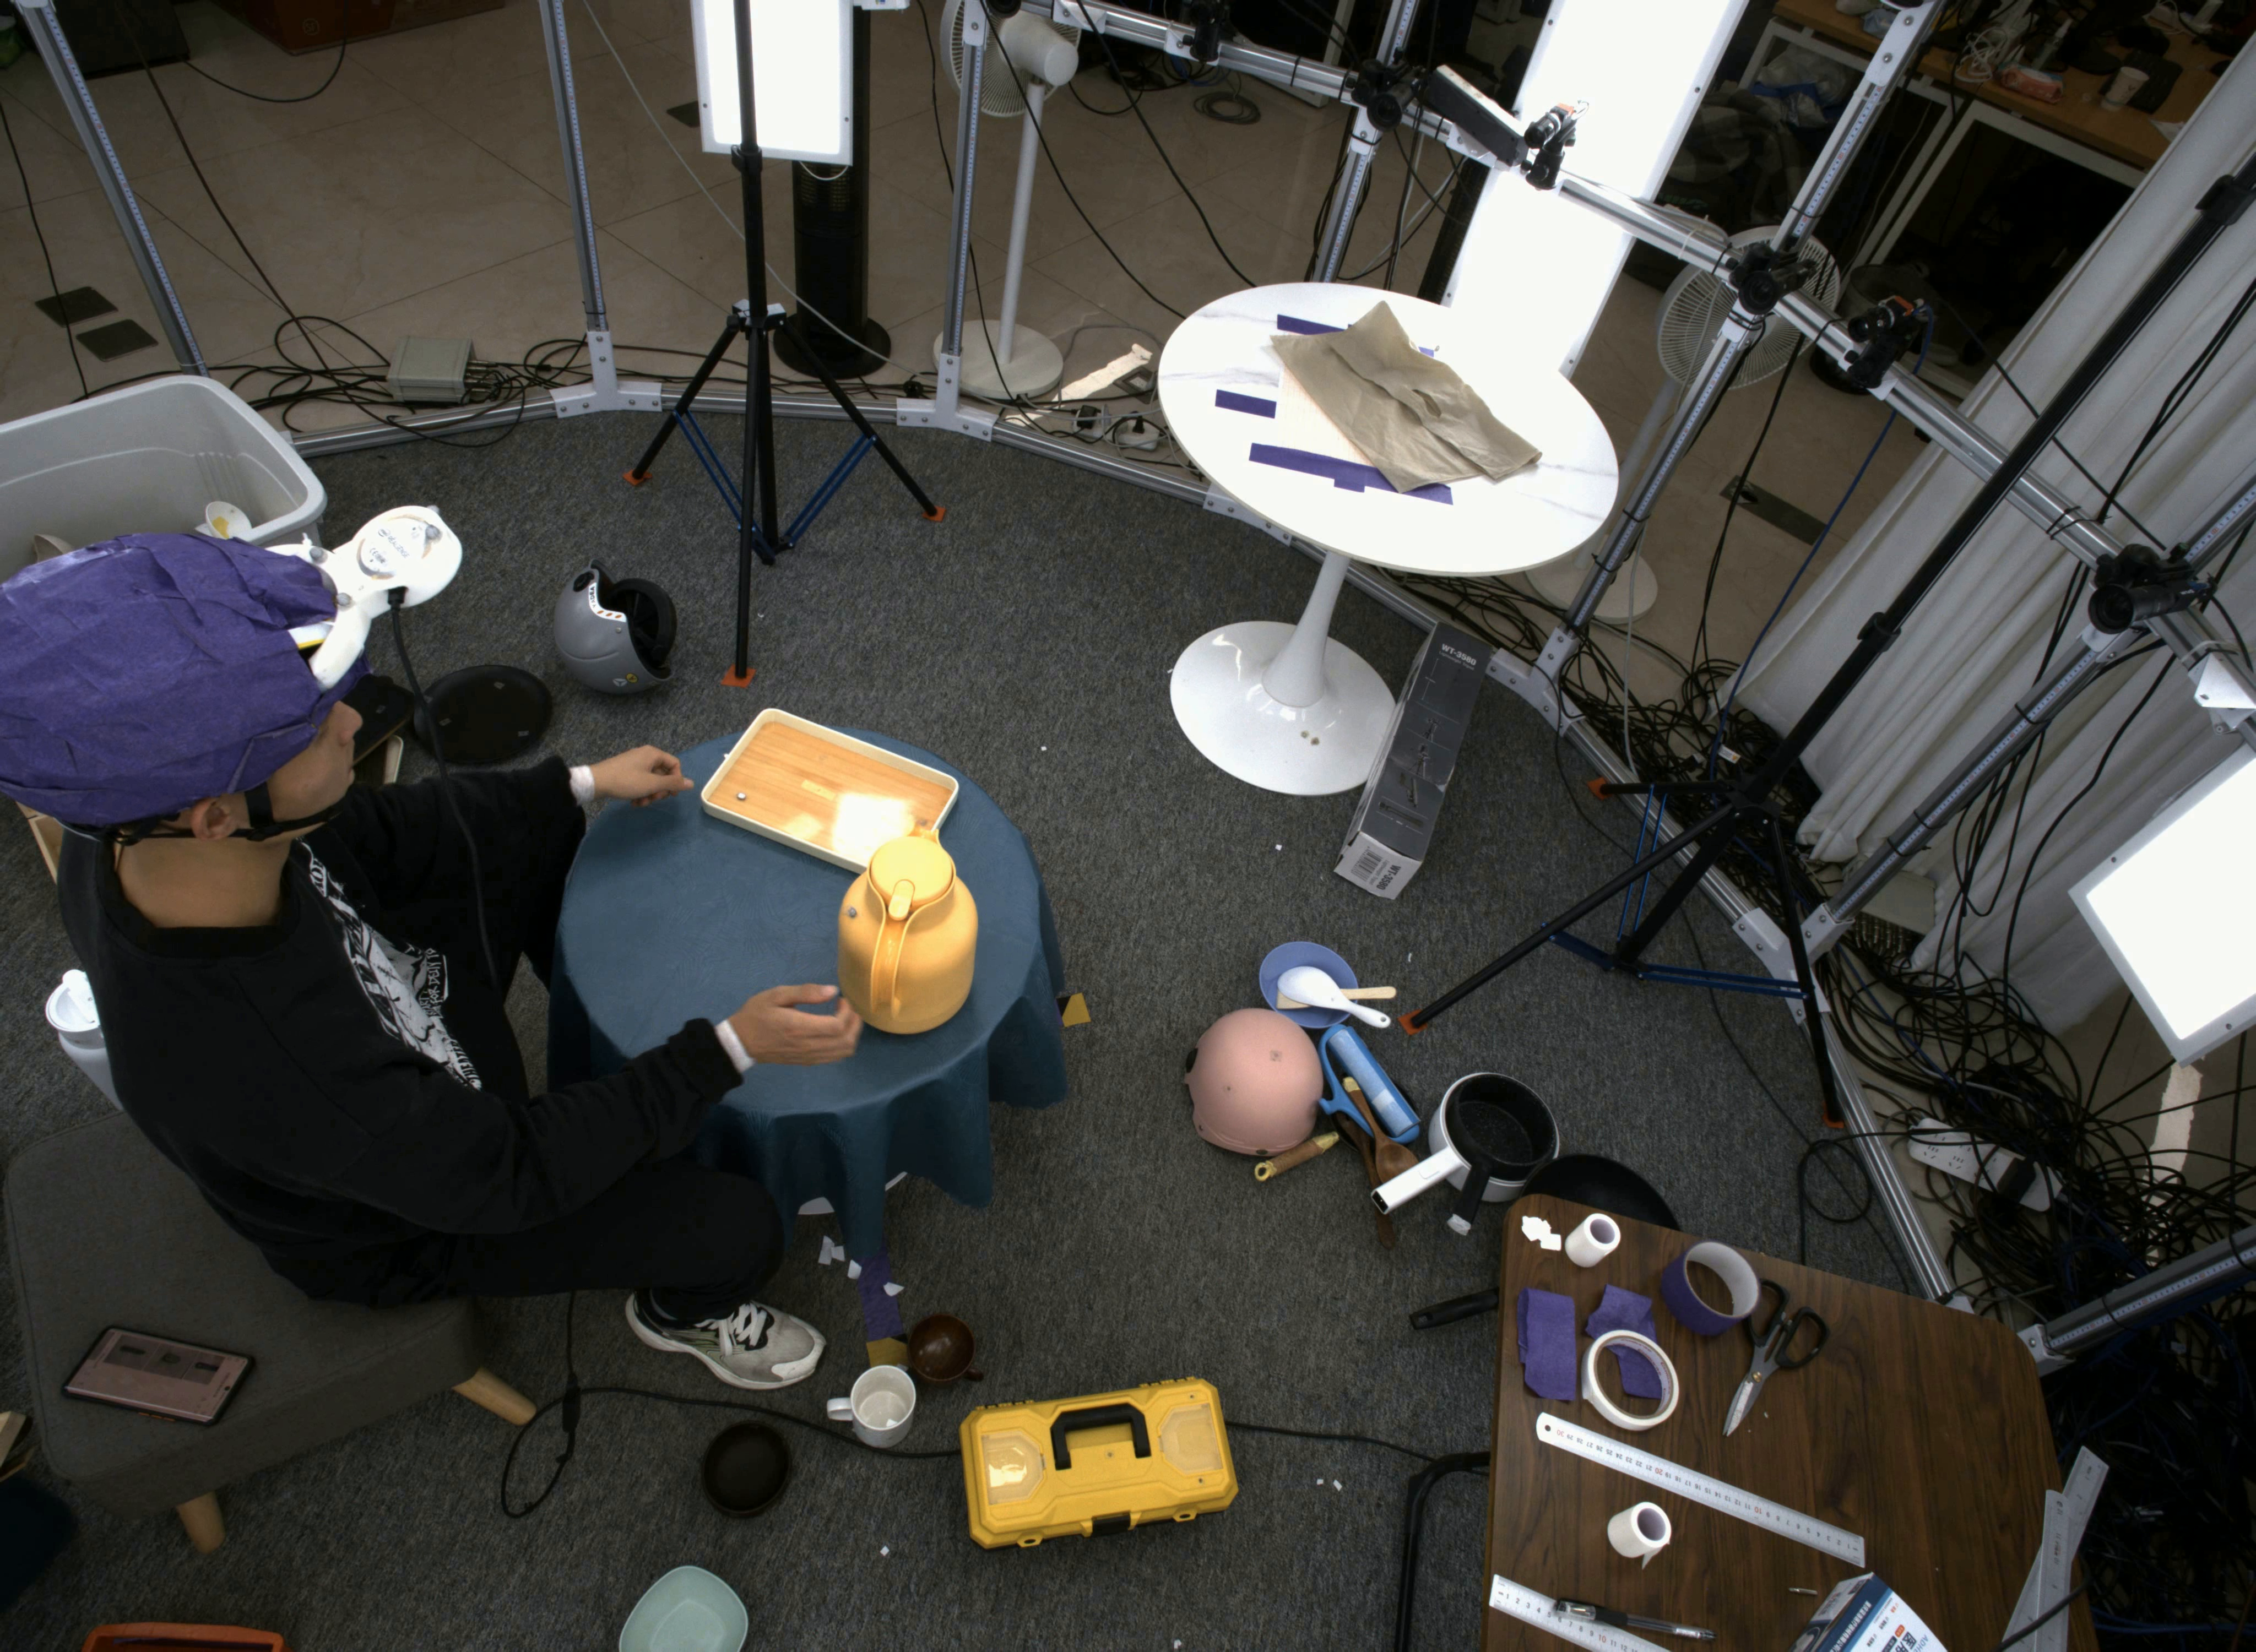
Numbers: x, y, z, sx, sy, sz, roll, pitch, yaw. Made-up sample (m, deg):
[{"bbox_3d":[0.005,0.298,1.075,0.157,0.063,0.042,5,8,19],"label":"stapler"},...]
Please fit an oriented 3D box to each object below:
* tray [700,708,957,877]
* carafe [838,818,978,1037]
[{"bbox_3d":[-0.398,-0.041,1.742,0.297,0.028,0.190,21,51,2],"label":"tray"},{"bbox_3d":[-0.260,0.130,1.497,0.162,0.267,0.199,12,49,1],"label":"carafe"}]
